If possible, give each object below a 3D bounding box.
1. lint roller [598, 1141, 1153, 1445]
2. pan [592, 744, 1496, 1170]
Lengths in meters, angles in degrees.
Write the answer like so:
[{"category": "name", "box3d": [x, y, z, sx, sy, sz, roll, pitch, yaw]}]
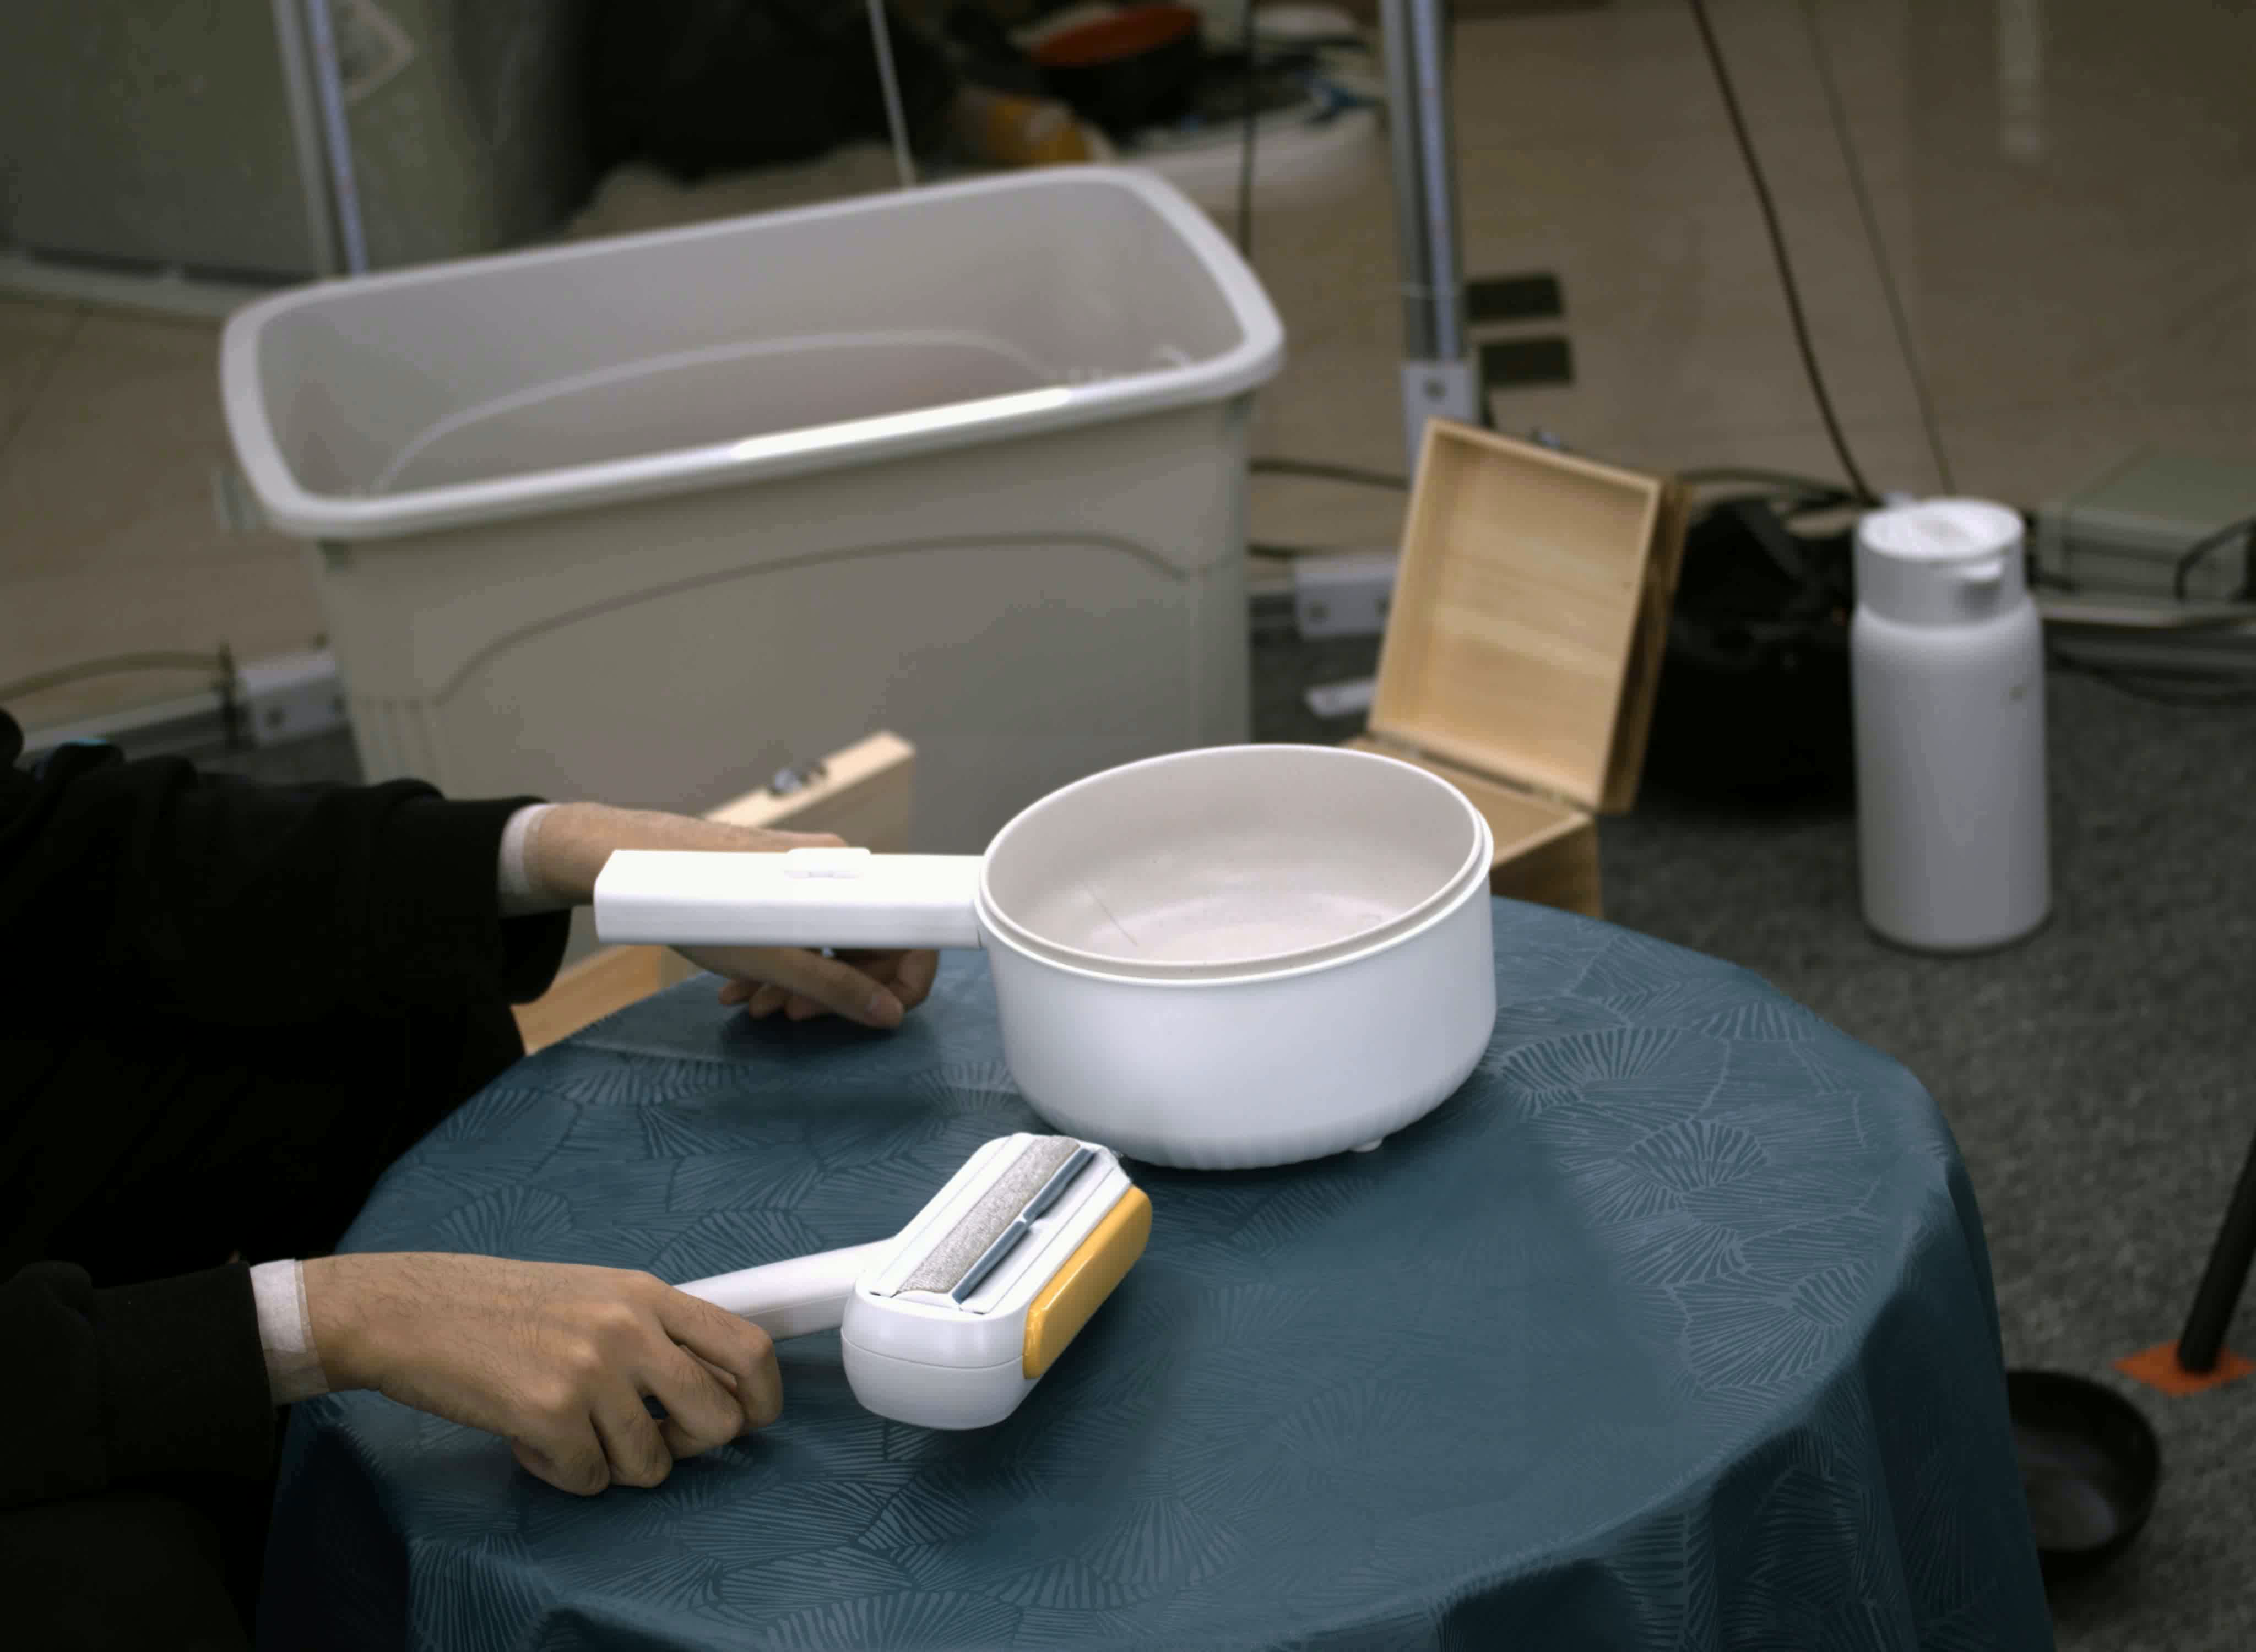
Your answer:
[{"category": "lint roller", "box3d": [-0.103, 0.167, 2.028, 0.192, 0.075, 0.190, 1, 21, 20]}, {"category": "pan", "box3d": [-0.031, 0.055, 2.209, 0.354, 0.104, 0.198, -1, 26, 13]}]
